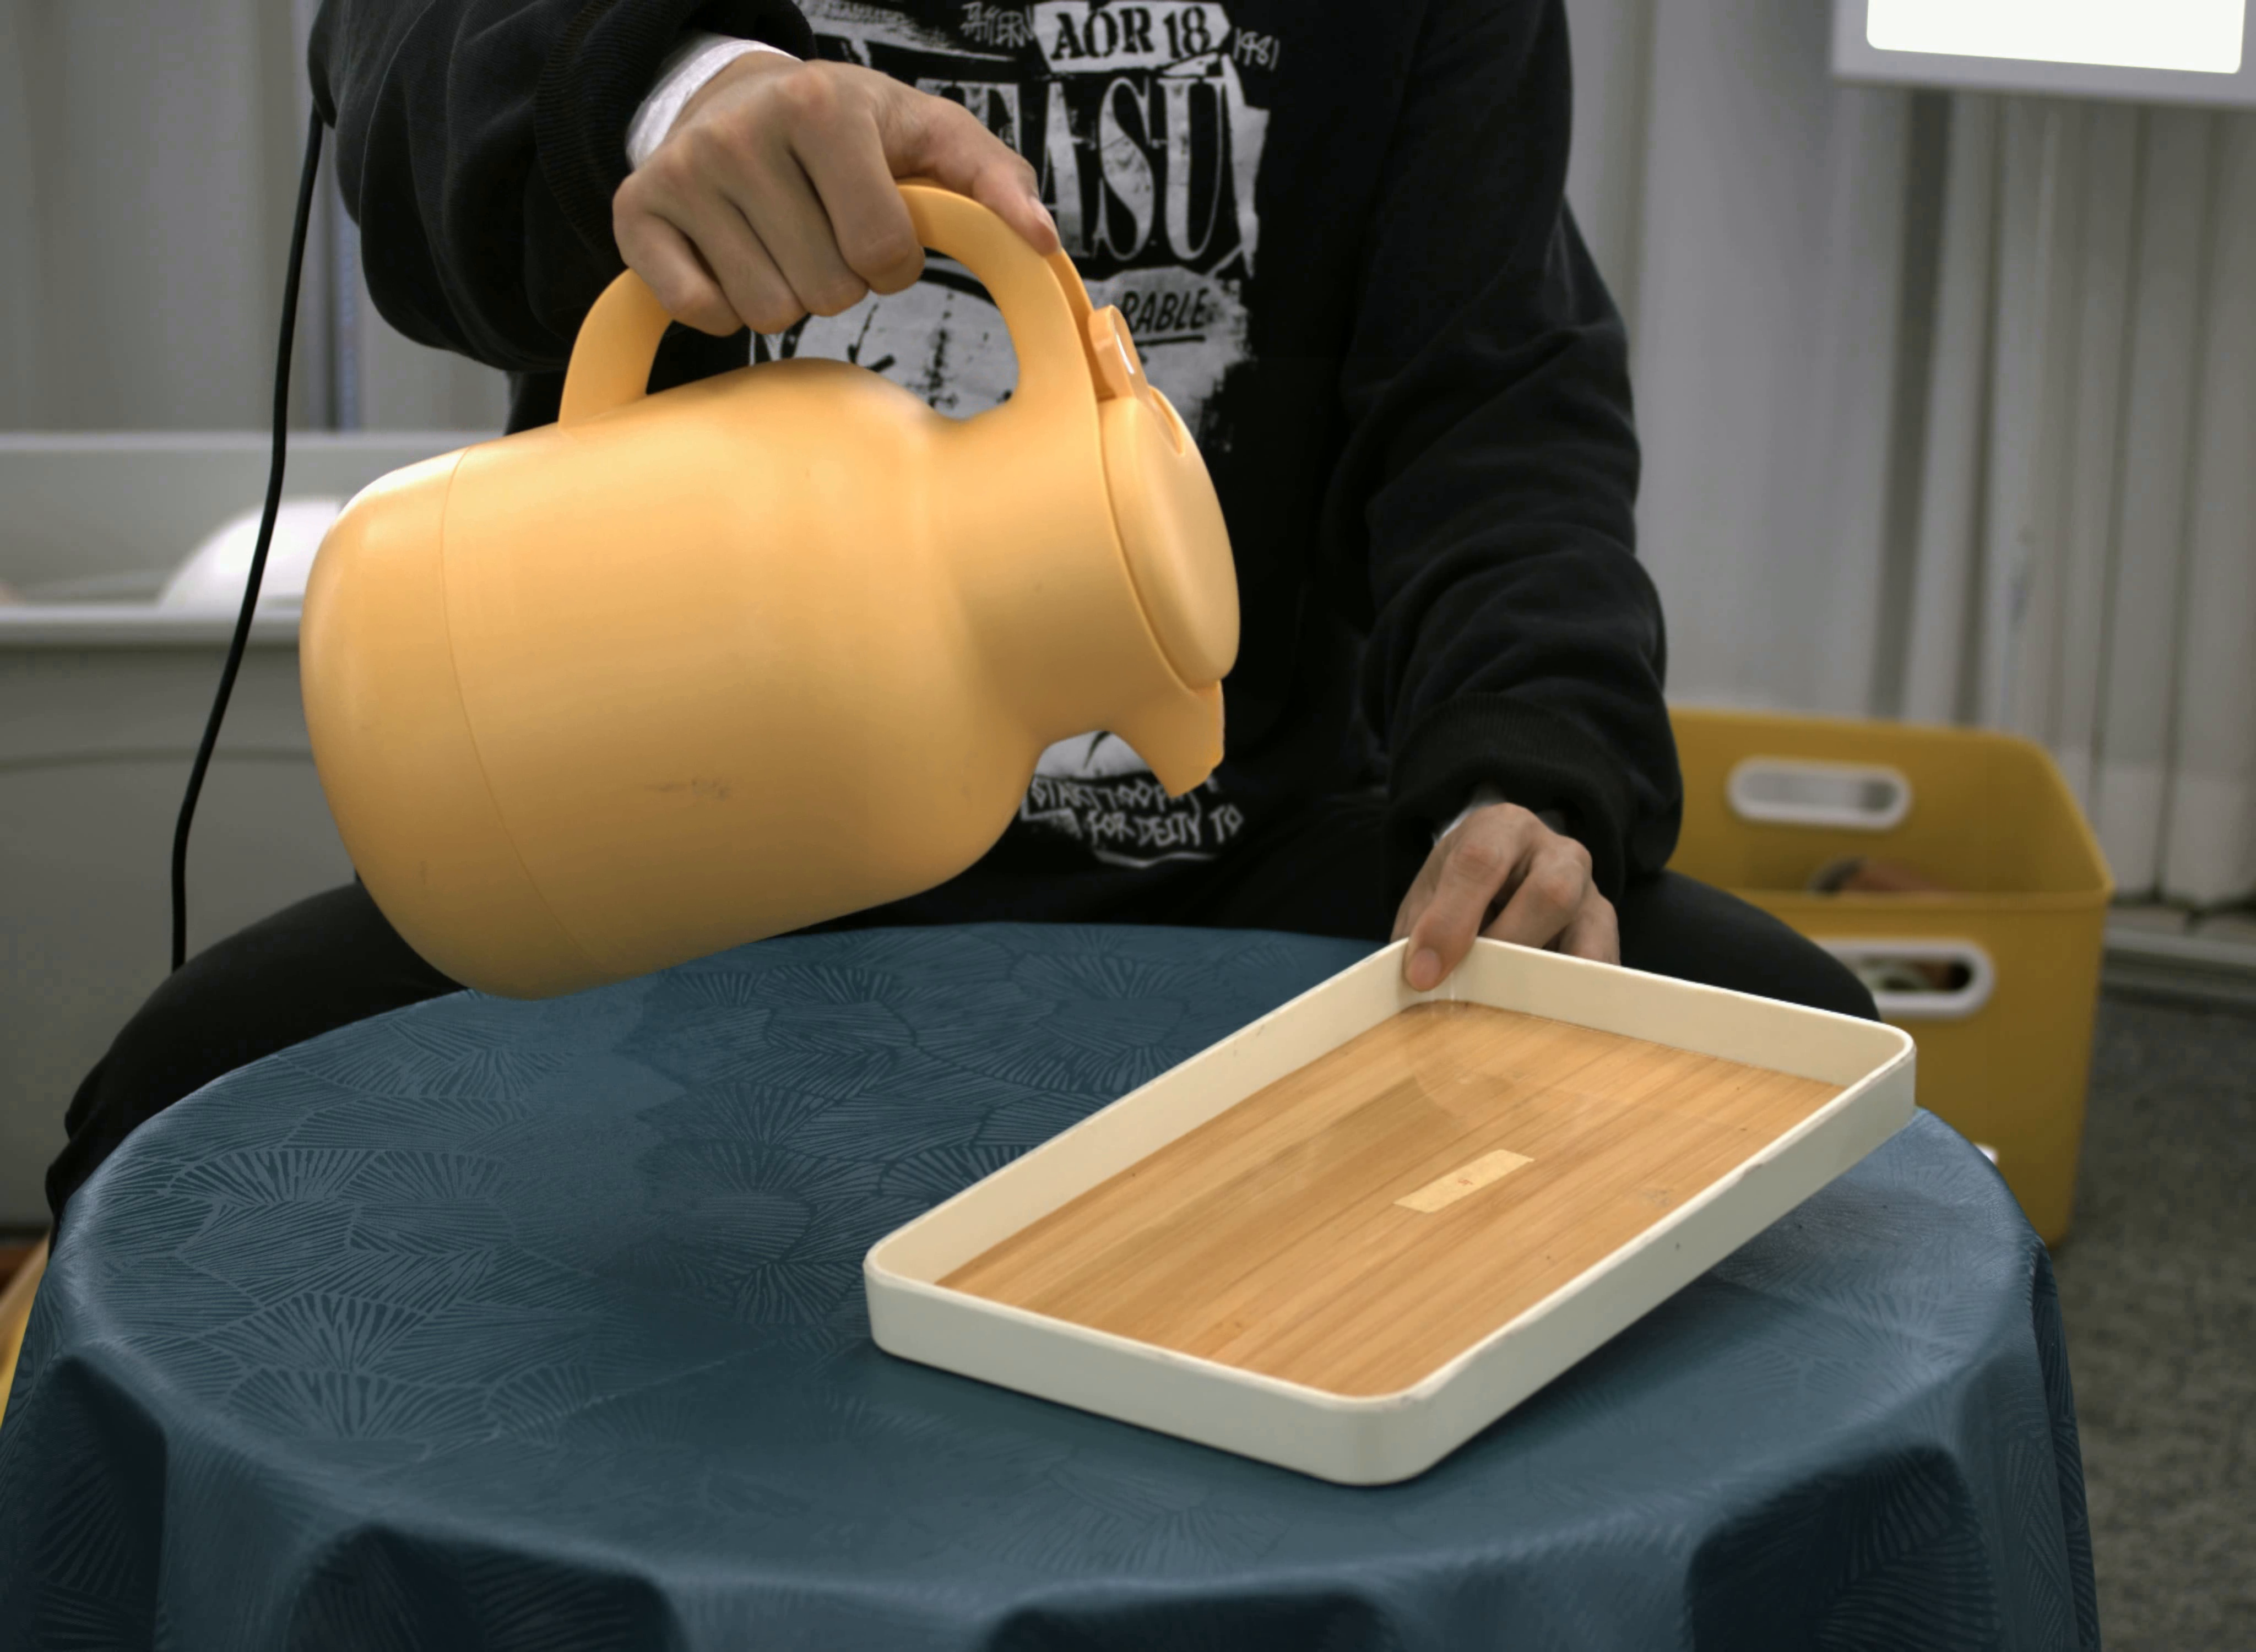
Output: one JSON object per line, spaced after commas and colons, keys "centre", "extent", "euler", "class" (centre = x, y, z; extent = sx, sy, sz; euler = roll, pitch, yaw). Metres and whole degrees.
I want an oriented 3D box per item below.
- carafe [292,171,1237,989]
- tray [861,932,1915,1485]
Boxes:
{"centre": [-0.104, -0.074, 1.513], "extent": [0.259, 0.203, 0.163], "euler": [-14, 8, 12], "class": "carafe"}
{"centre": [0.082, 0.105, 1.546], "extent": [0.189, 0.027, 0.301], "euler": [12, 25, 35], "class": "tray"}
